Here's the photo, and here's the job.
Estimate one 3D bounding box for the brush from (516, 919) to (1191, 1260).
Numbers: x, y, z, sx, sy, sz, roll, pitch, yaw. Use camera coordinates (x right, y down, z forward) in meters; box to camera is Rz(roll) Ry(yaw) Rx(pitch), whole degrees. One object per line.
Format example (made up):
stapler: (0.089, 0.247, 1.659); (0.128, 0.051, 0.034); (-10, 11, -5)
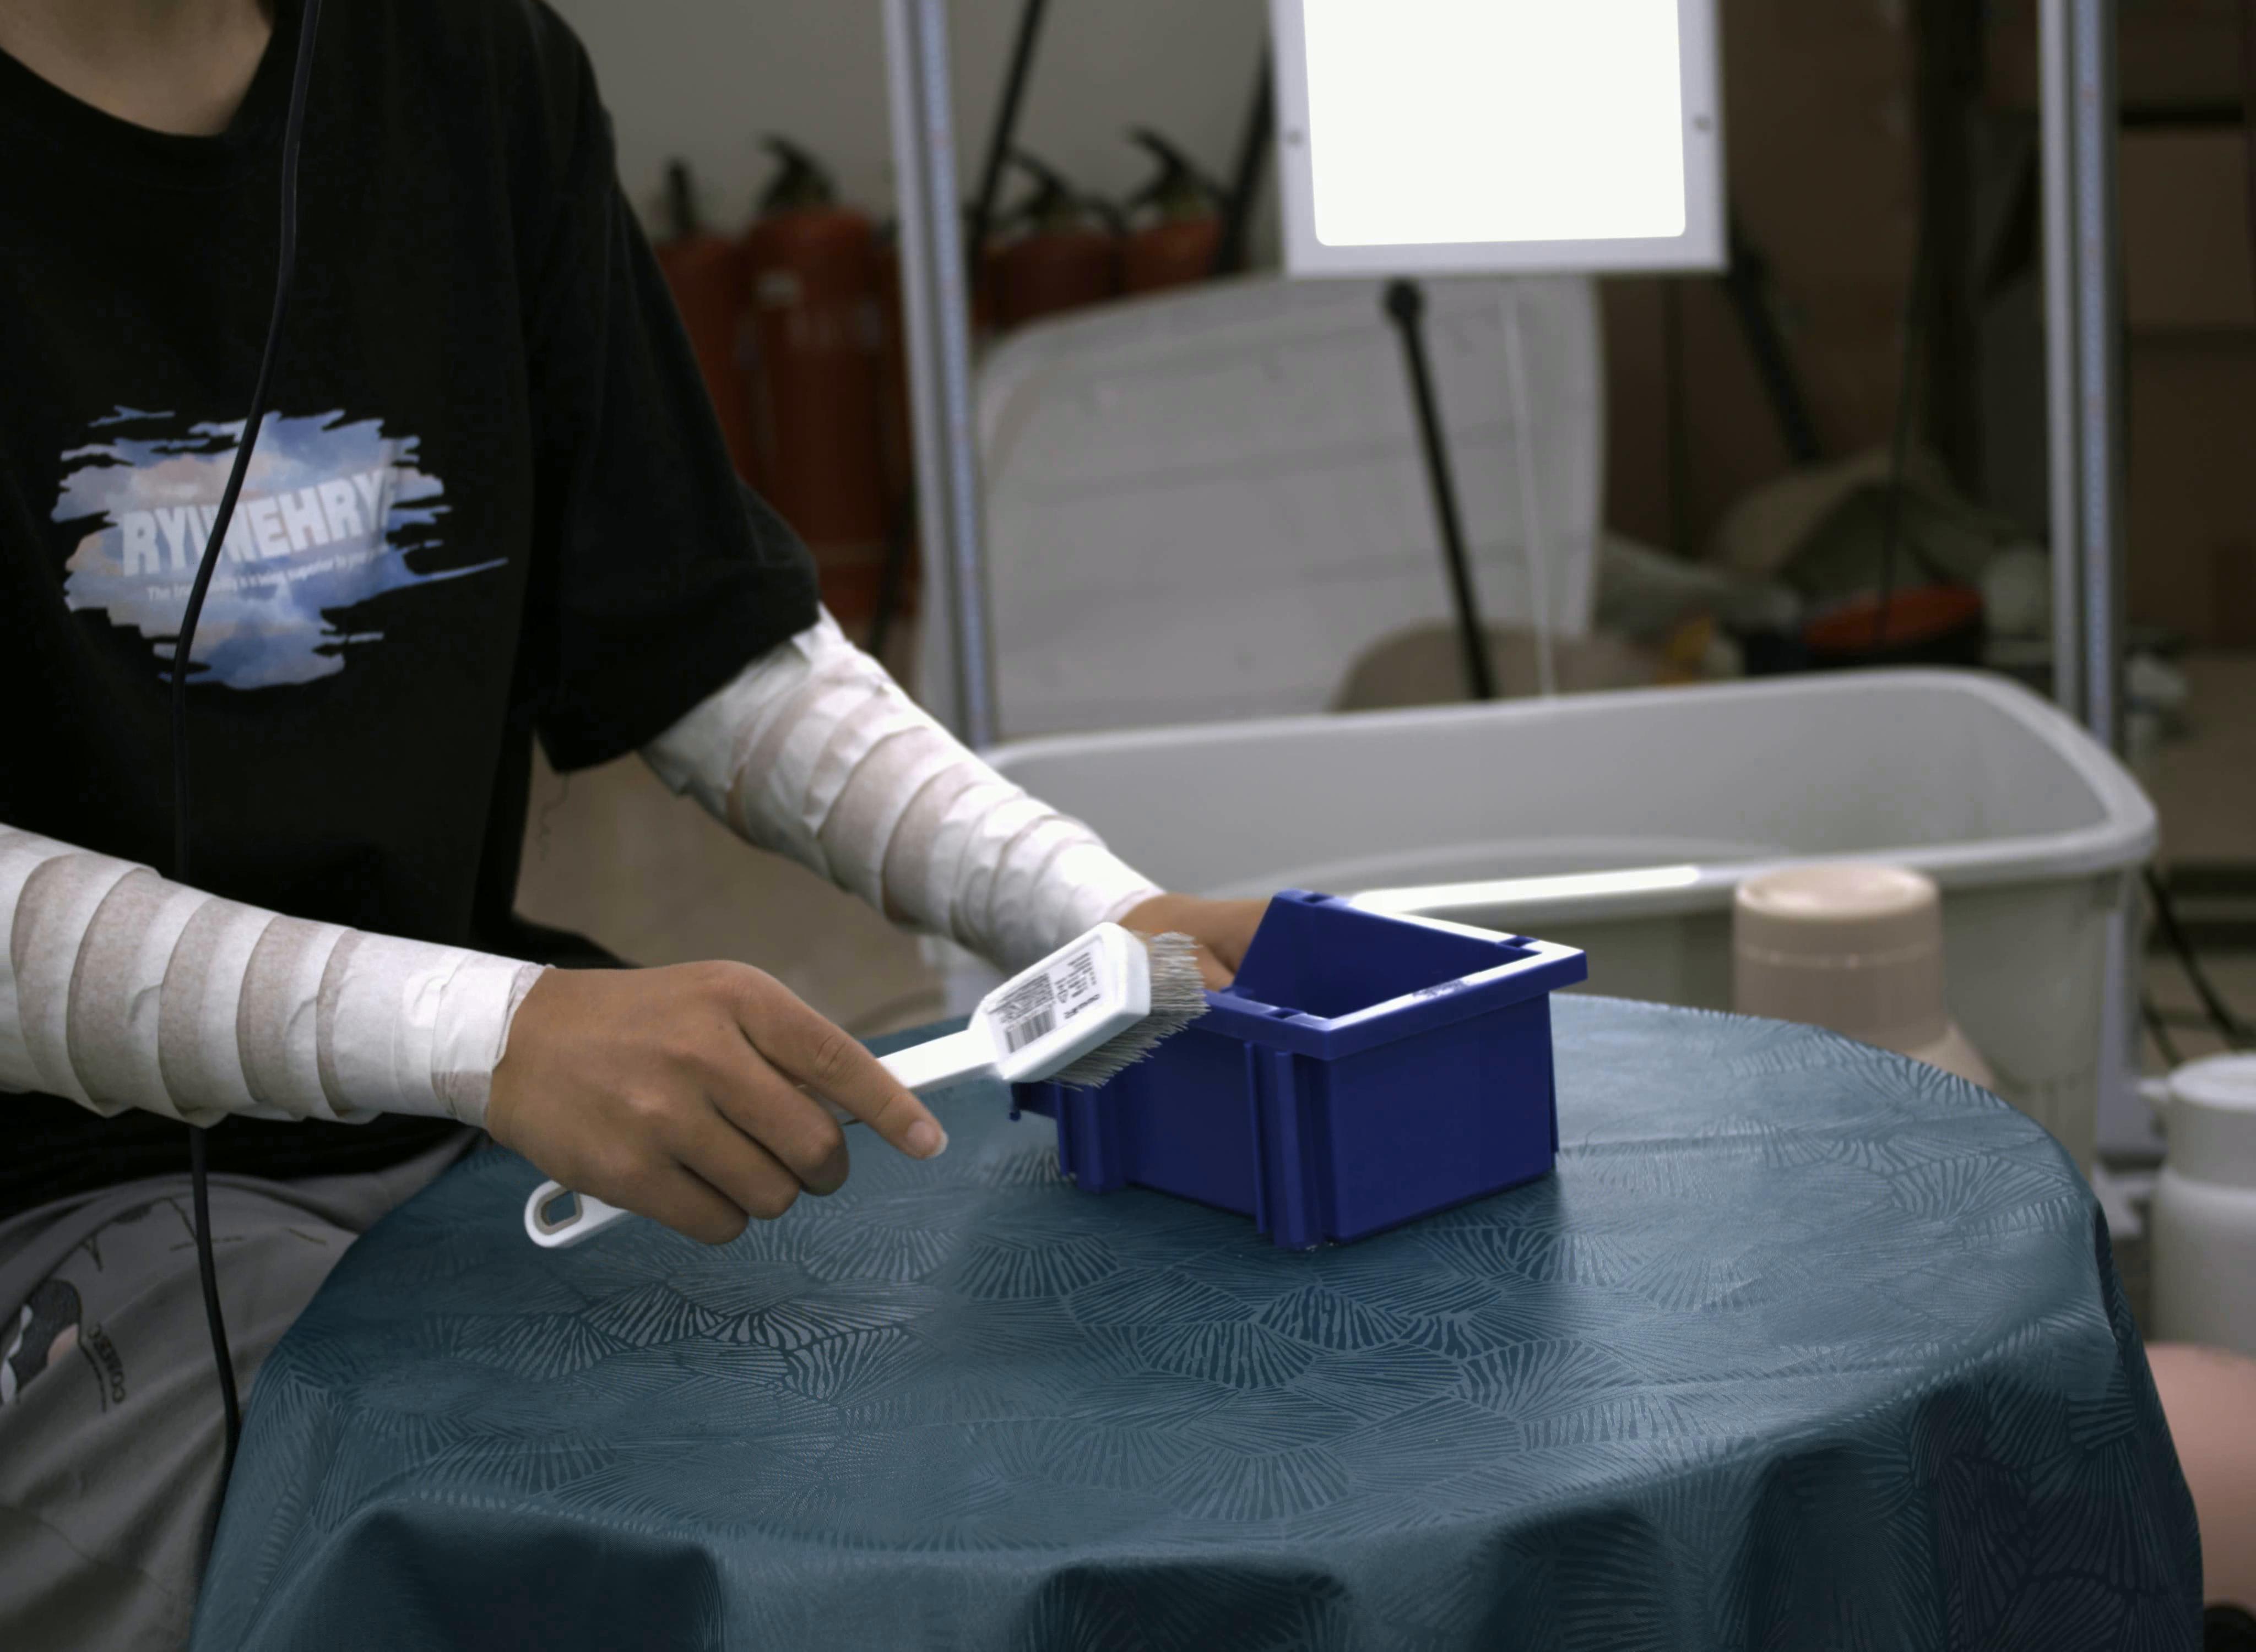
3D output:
brush: (-0.089, 0.091, 1.789); (0.247, 0.034, 0.049); (-26, -24, 22)

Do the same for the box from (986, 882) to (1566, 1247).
box: (0.048, 0.079, 1.903); (0.121, 0.082, 0.183); (-15, 18, -35)
